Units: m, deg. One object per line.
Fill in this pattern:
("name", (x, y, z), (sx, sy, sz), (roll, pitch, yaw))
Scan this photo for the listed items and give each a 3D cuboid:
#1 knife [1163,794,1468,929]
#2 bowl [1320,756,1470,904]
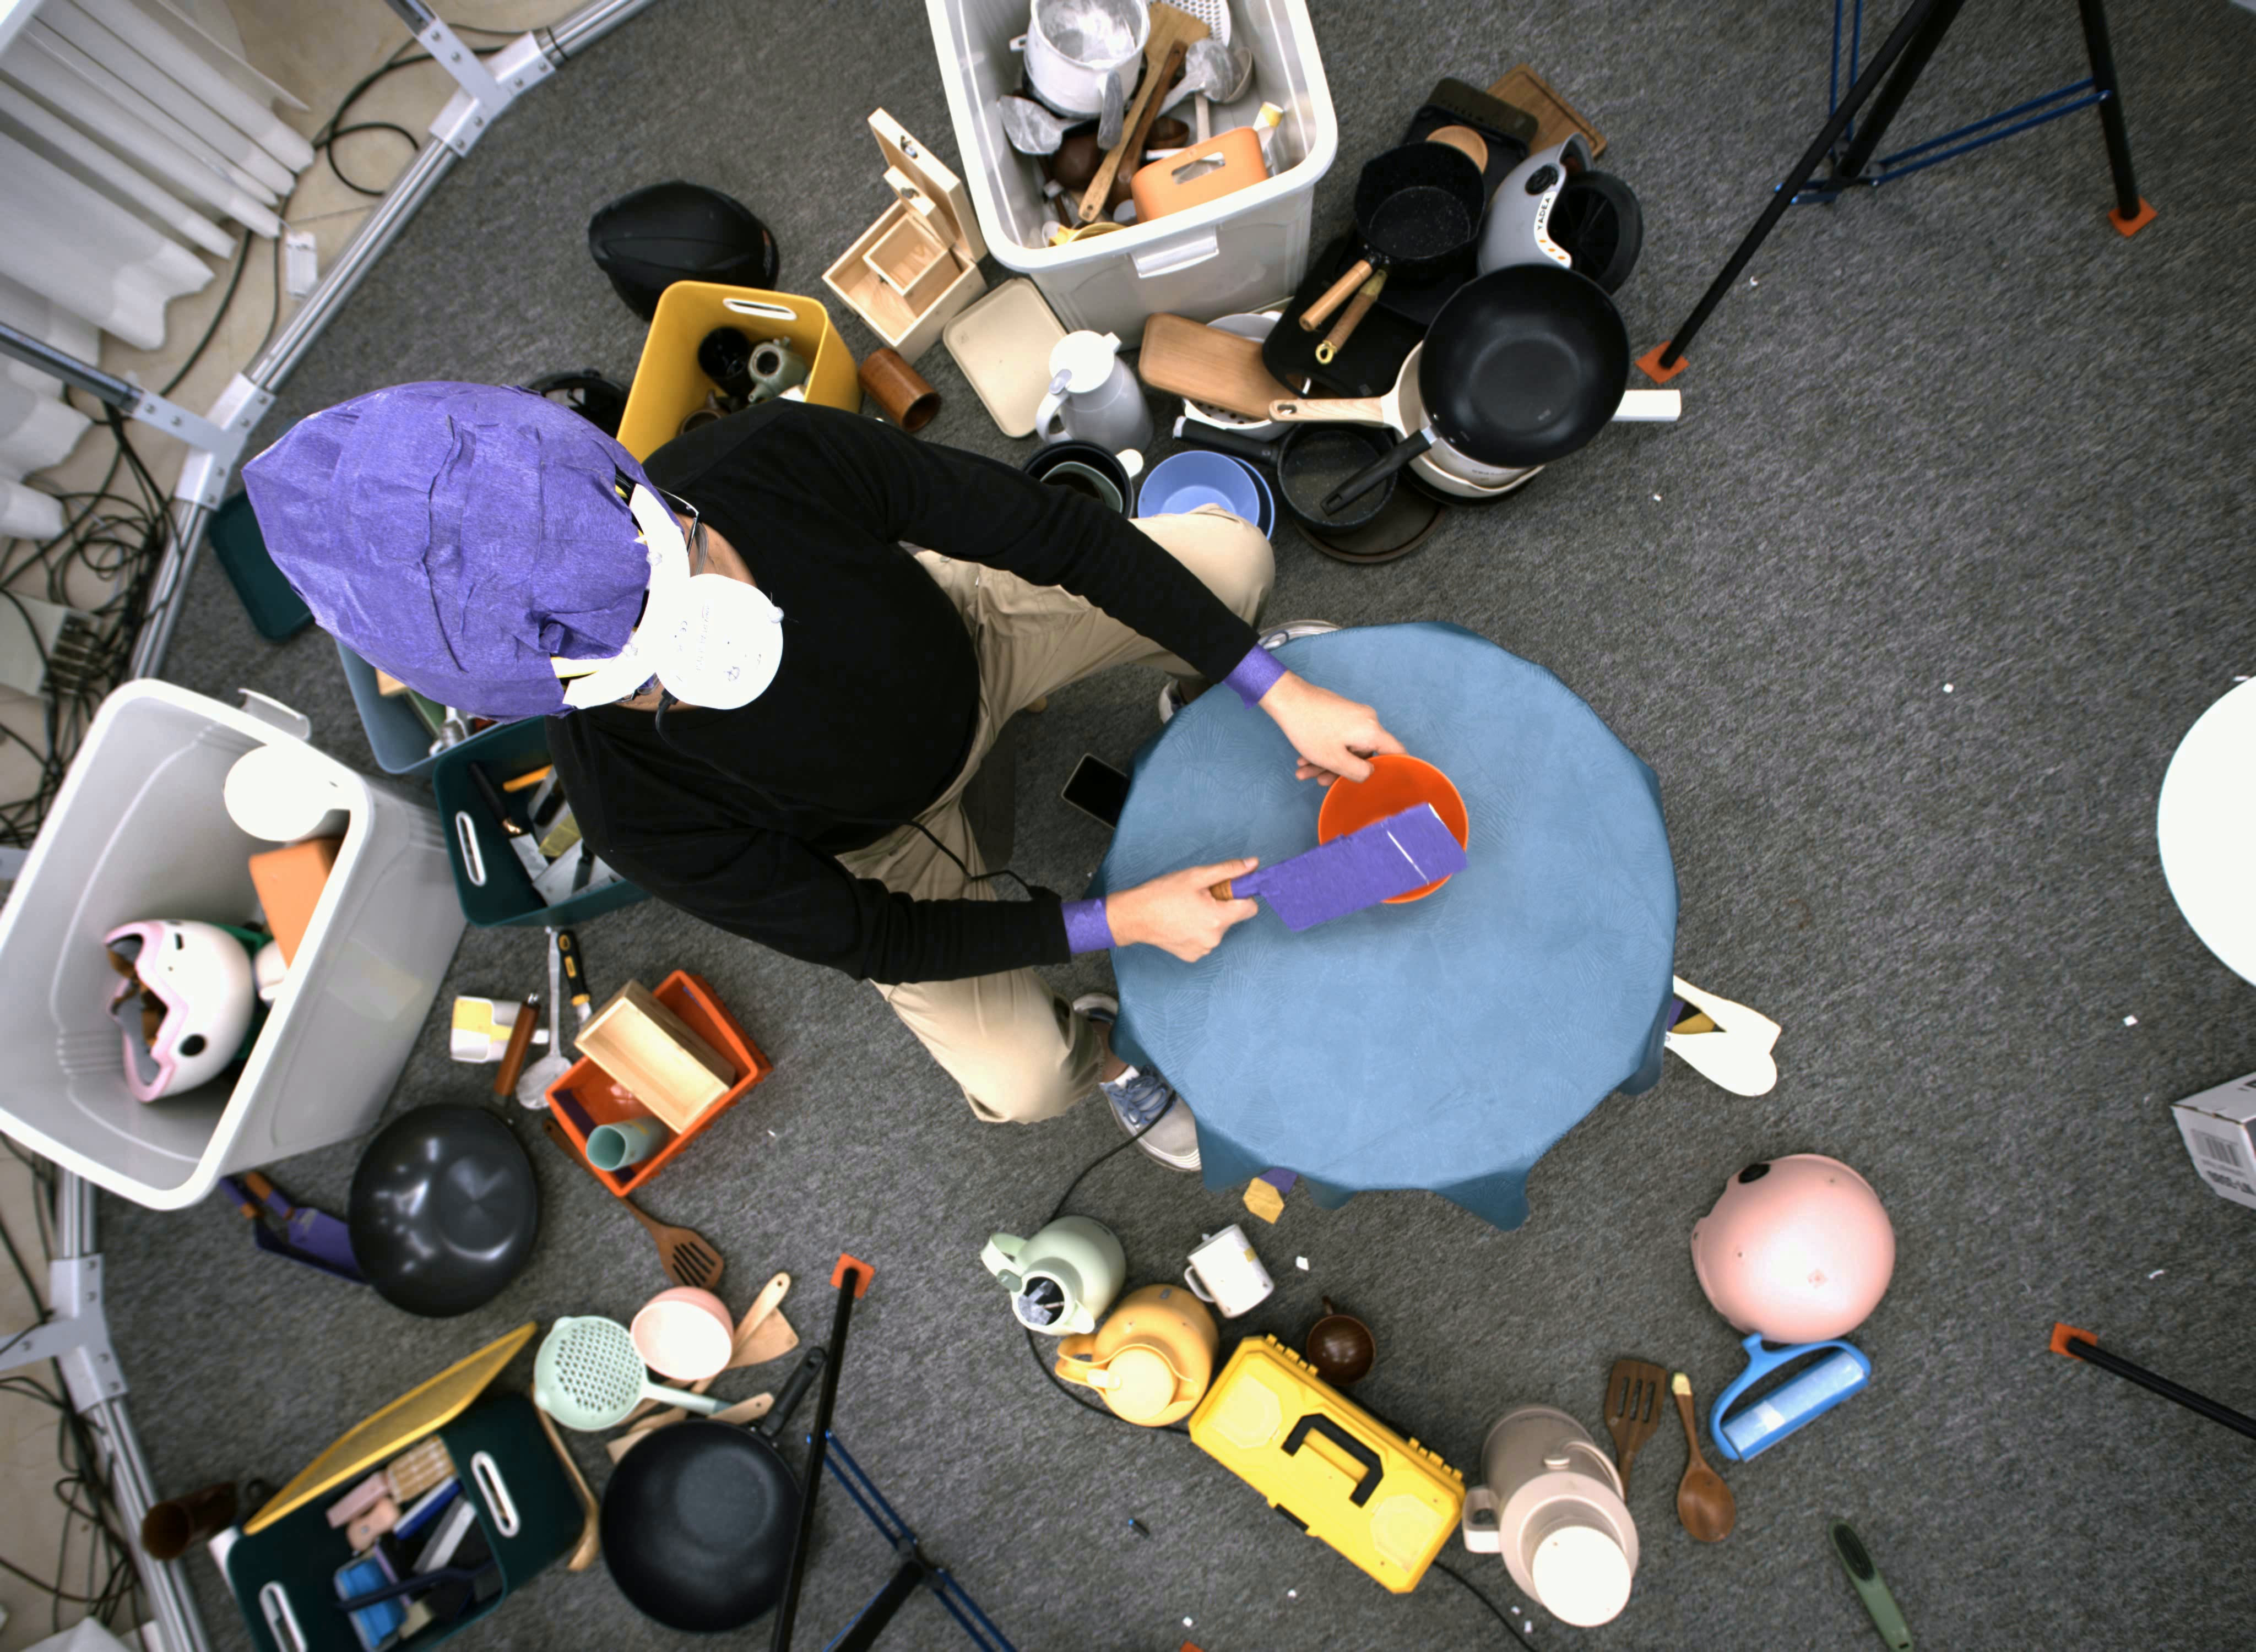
("knife", (0.183, 0.059, 1.380), (0.320, 0.031, 0.105), (-24, 122, 34))
("bowl", (0.271, 0.007, 1.412), (0.148, 0.104, 0.147), (-1, 87, 8))
